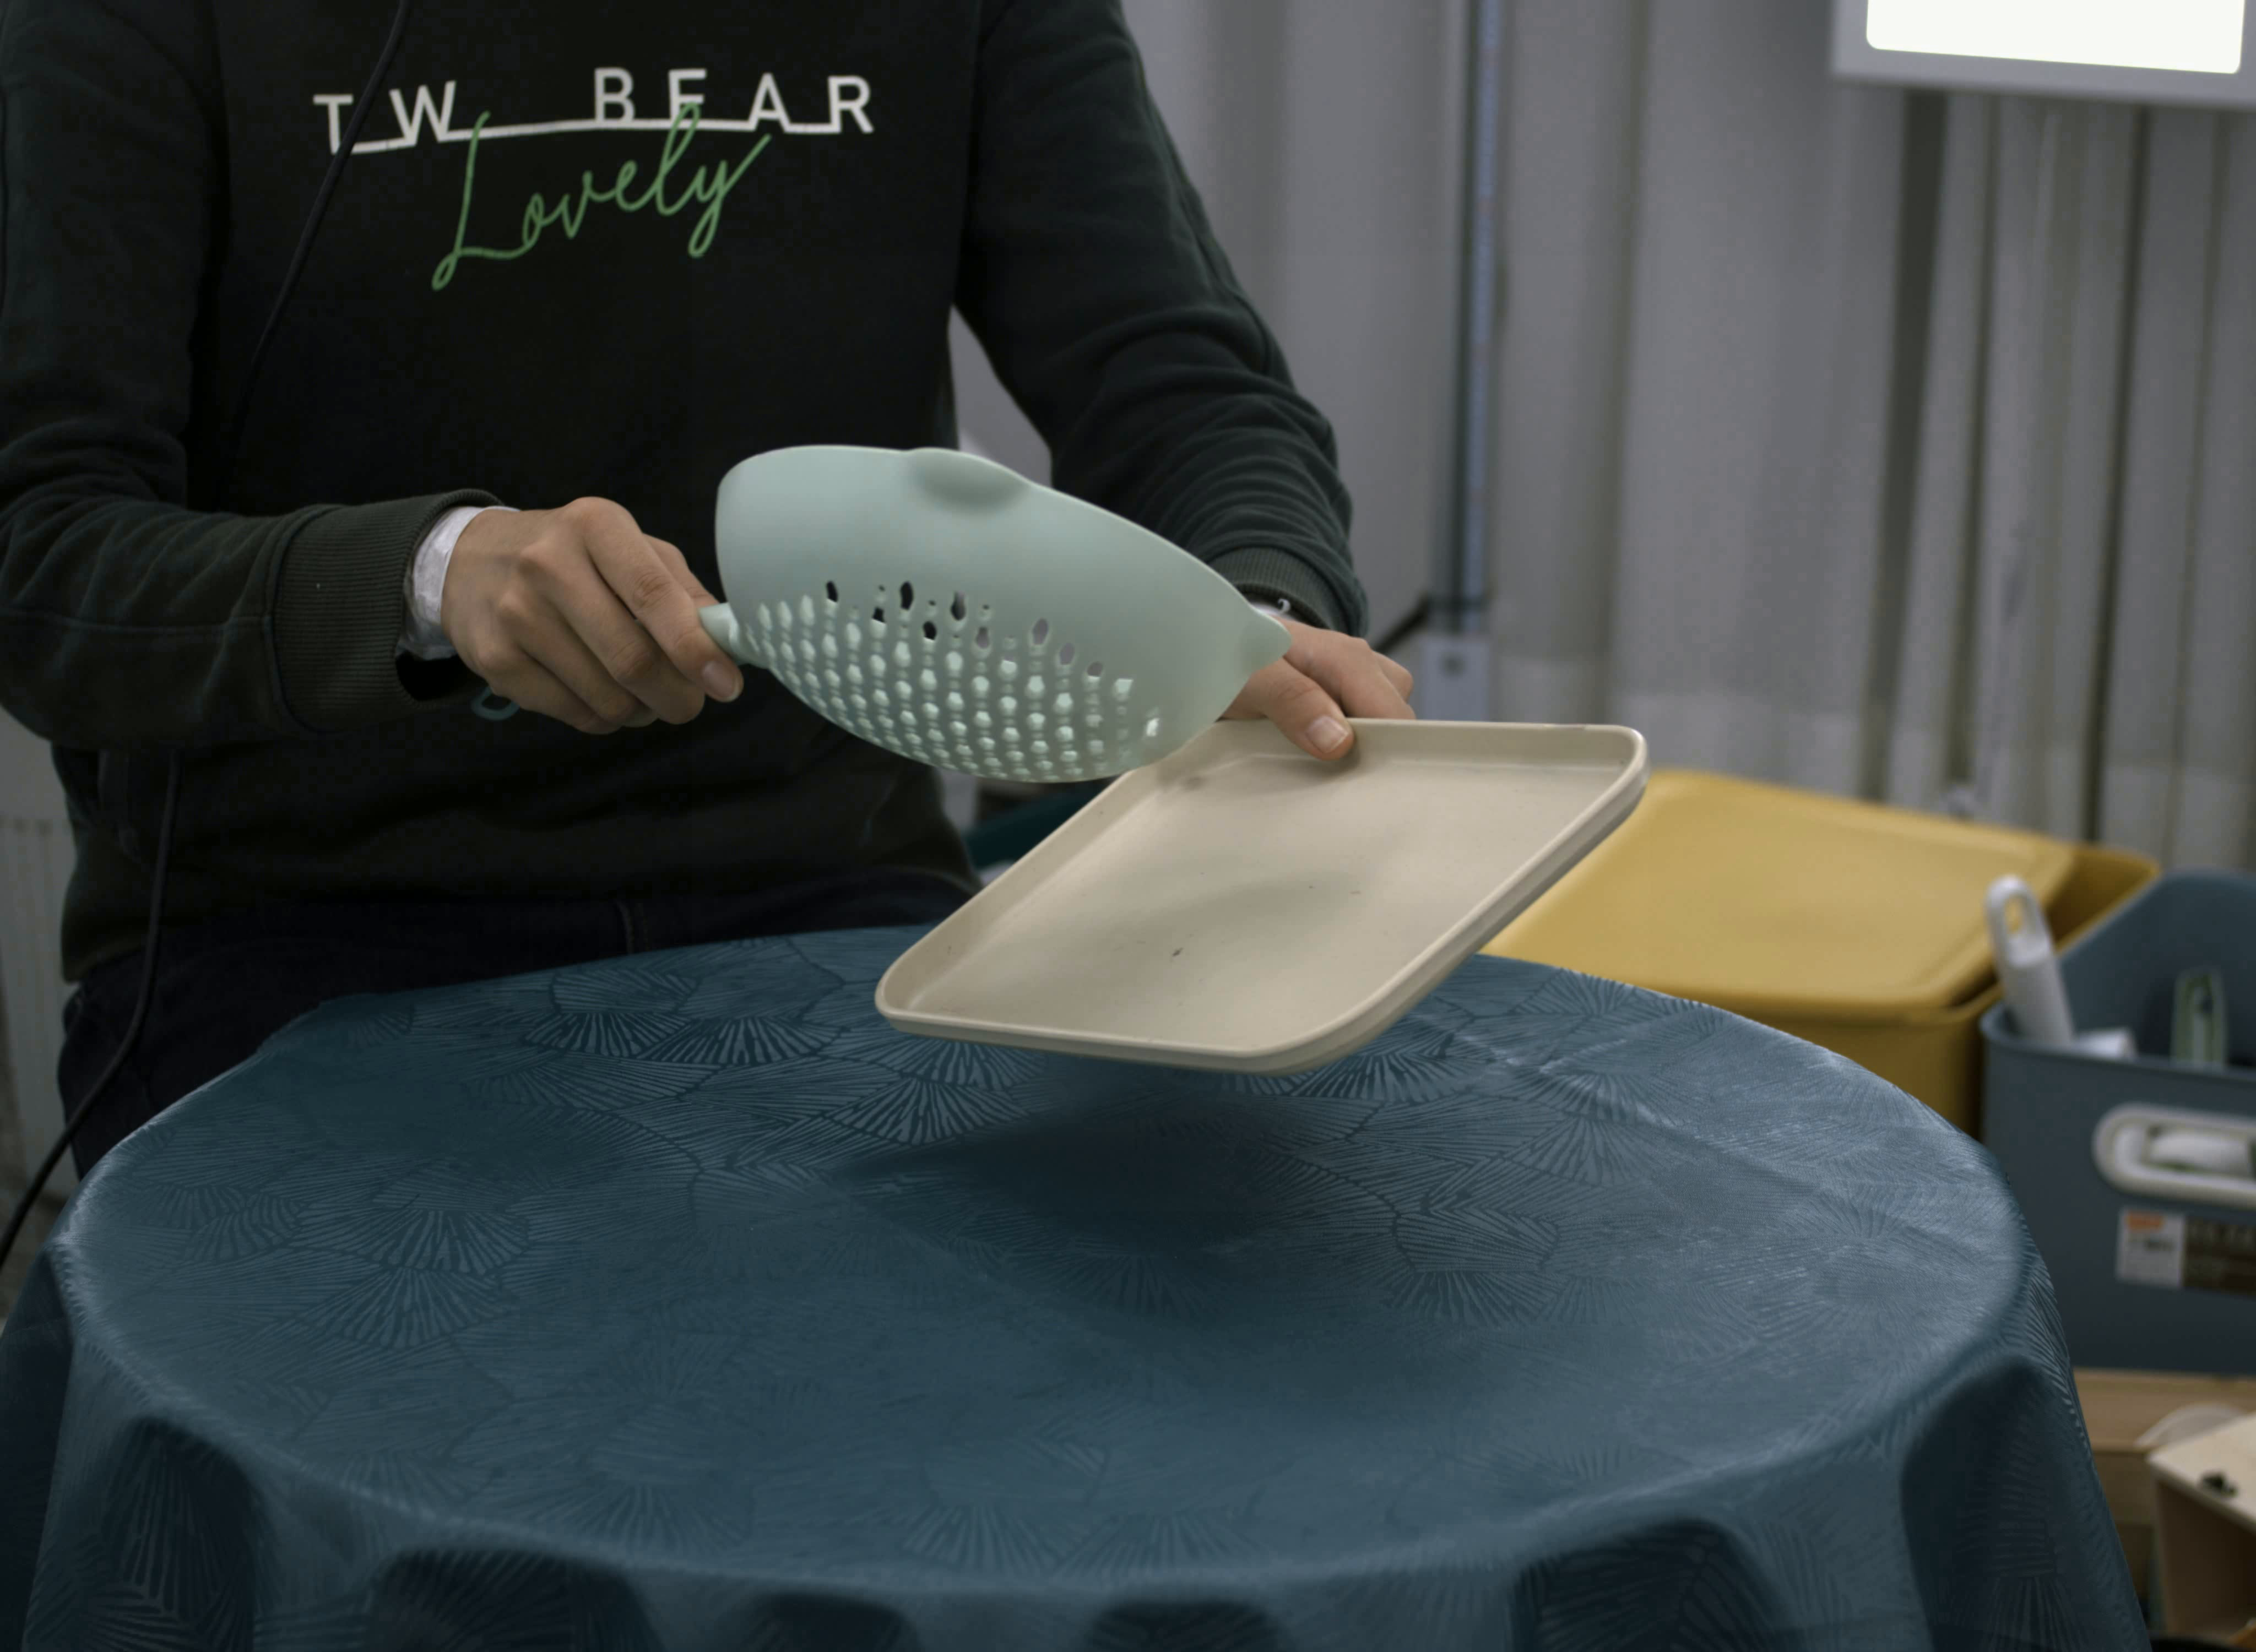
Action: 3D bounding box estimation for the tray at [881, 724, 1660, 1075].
[{"bbox_3d":[0.042,0.021,1.599,0.171,0.017,0.237,-39,23,-29],"label":"tray"}]

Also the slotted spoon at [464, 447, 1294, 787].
[{"bbox_3d":[-0.105,-0.056,1.634,0.171,0.075,0.355,28,-14,-34],"label":"slotted spoon"}]
